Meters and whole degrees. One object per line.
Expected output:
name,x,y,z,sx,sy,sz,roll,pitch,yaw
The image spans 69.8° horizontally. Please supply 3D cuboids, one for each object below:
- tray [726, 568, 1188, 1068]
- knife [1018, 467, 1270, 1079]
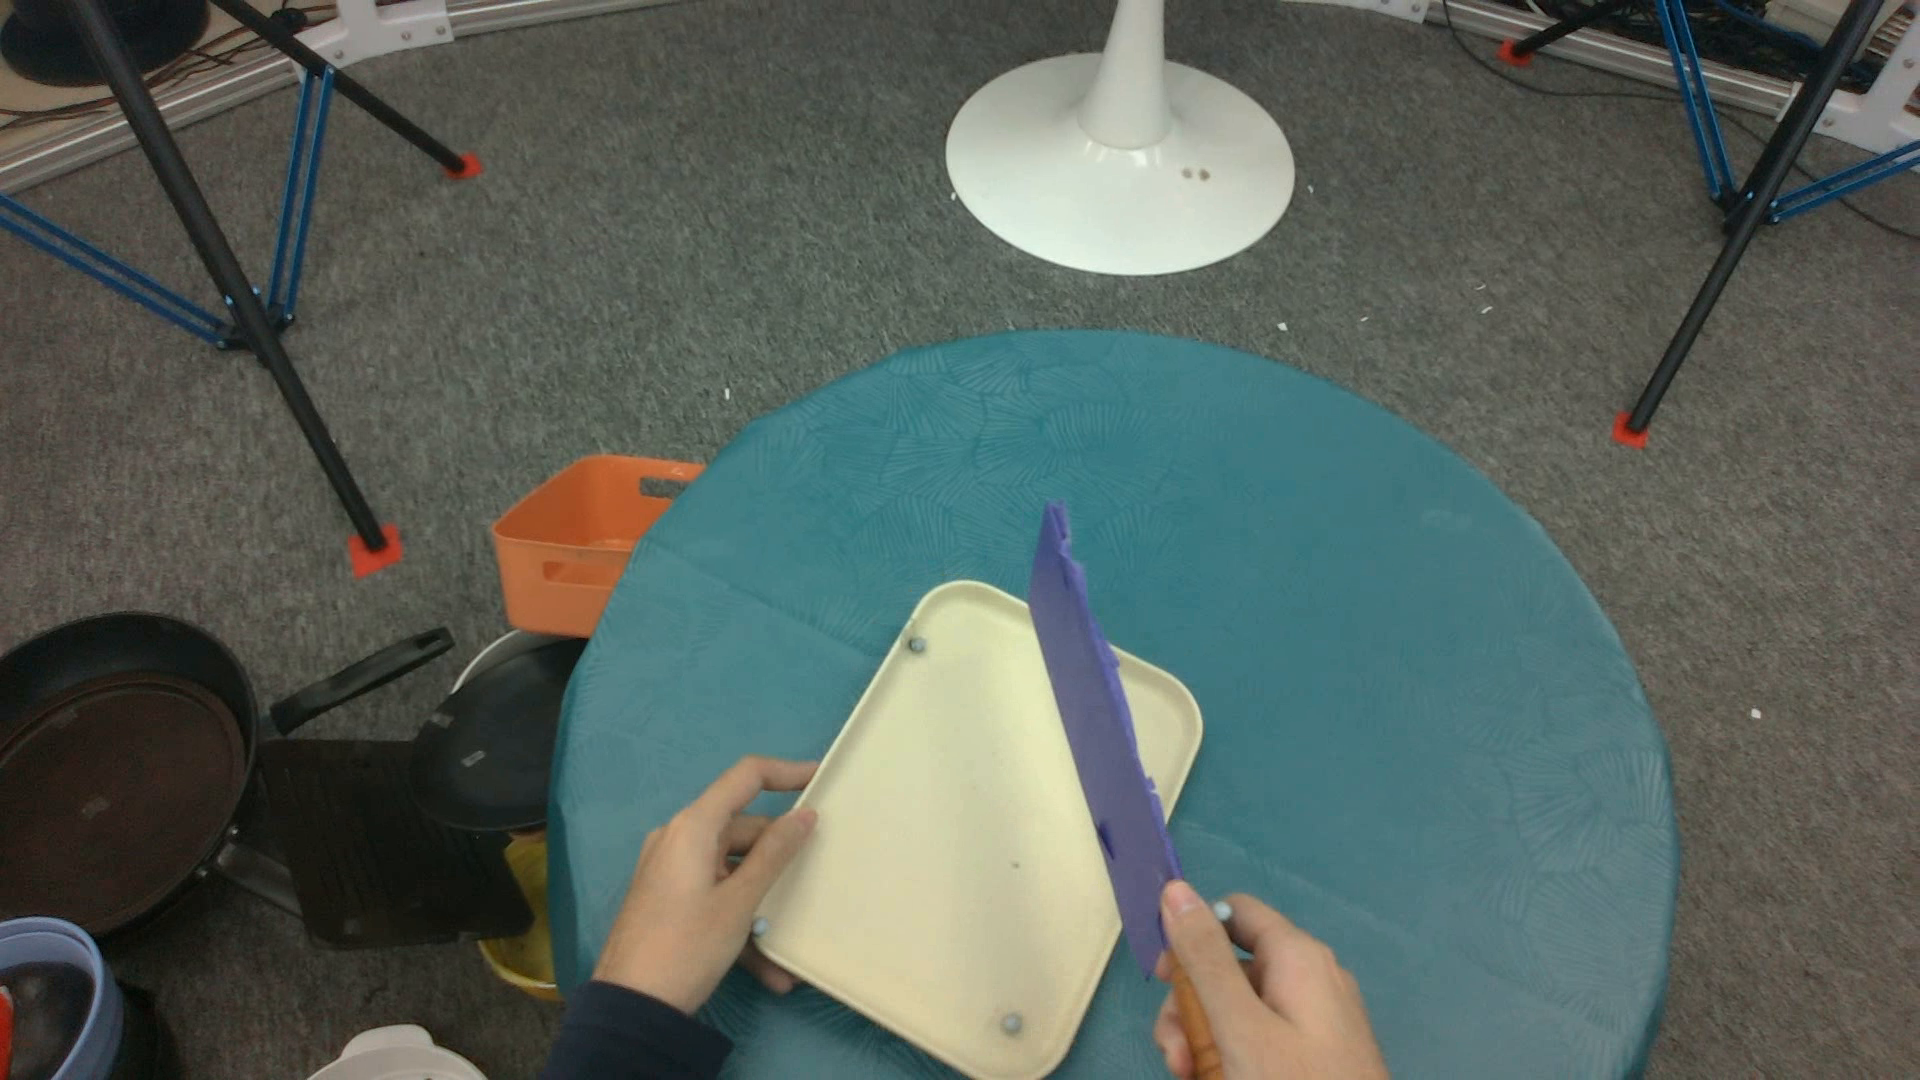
tray,0.005,0.130,0.700,0.171,0.017,0.241,28,54,7
knife,0.072,0.117,0.599,0.032,0.103,0.316,-6,54,-10
